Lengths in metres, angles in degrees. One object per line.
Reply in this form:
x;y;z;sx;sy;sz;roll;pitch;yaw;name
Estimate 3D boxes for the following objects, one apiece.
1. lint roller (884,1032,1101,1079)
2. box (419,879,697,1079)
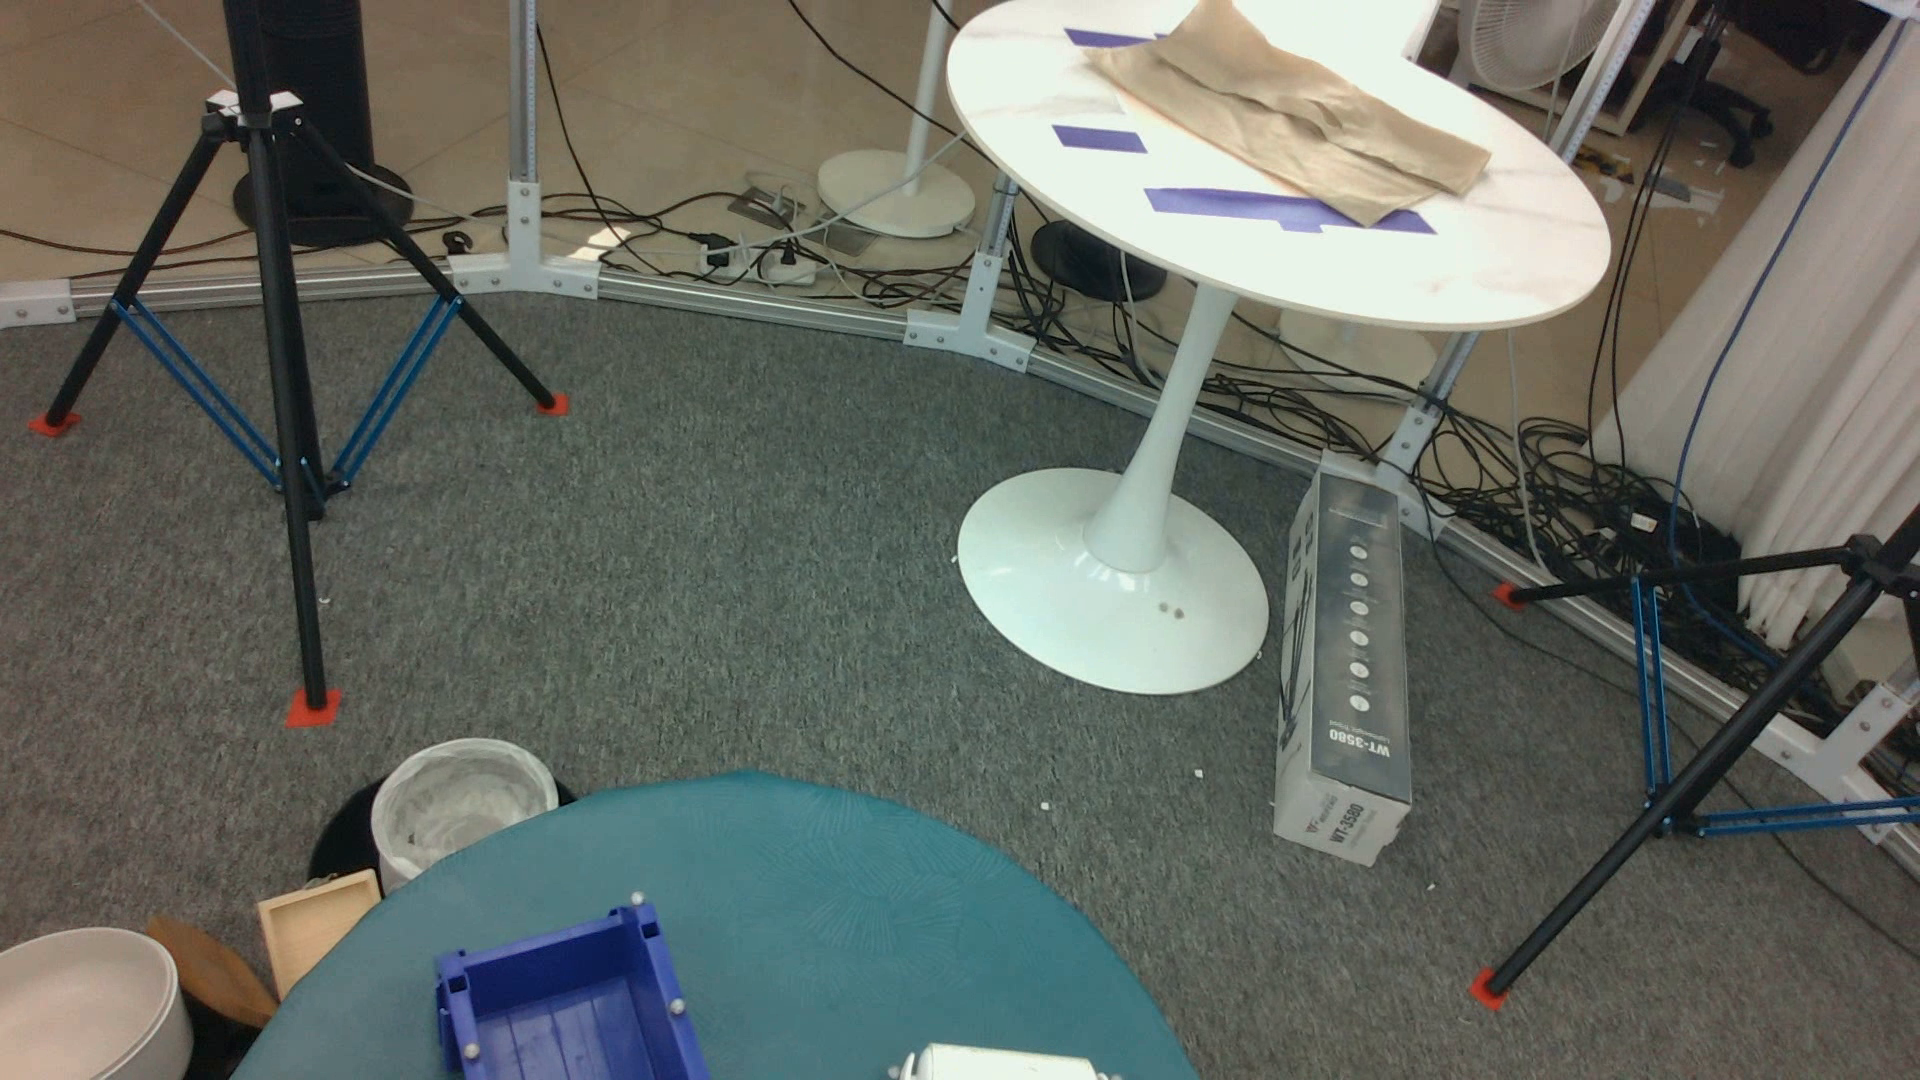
0.020;0.371;0.787;0.133;0.050;0.181;11;39;-8;lint roller
-0.232;0.280;0.782;0.125;0.081;0.180;-9;49;-26;box
